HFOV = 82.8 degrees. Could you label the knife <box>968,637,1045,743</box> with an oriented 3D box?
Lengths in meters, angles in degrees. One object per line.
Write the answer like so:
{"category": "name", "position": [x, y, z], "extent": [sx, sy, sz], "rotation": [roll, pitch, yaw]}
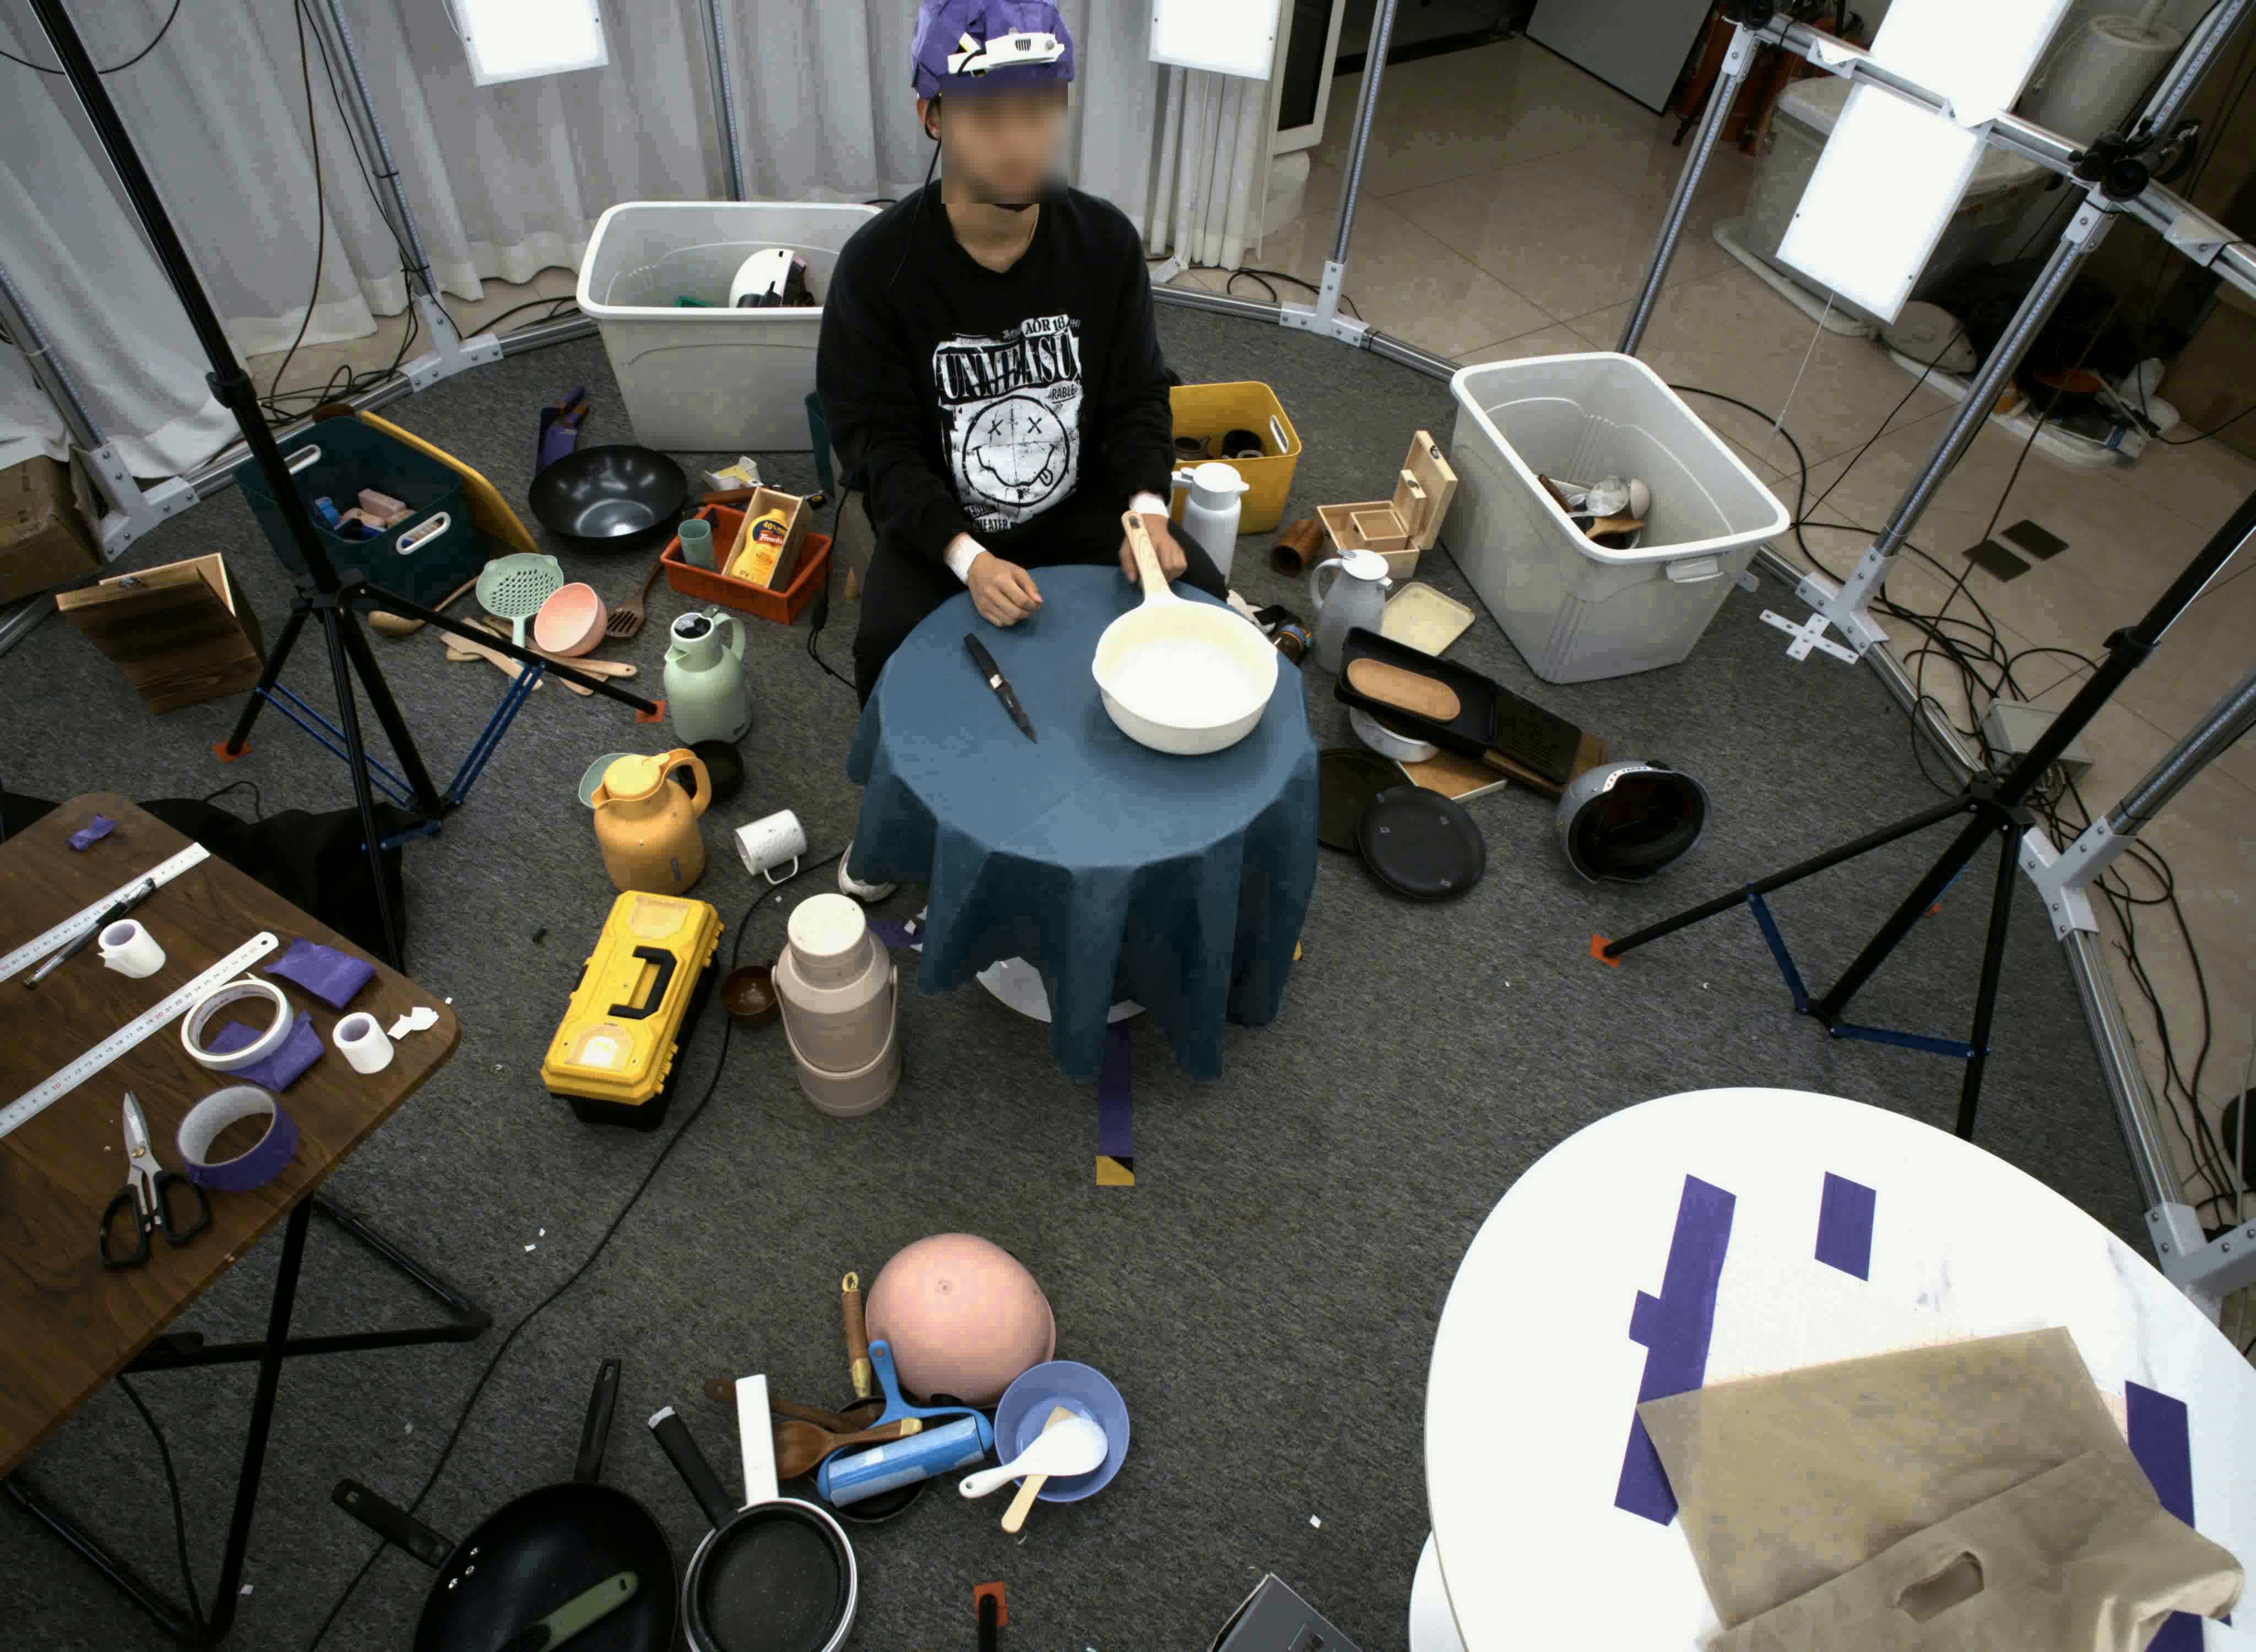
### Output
{"category": "knife", "position": [-0.174, -0.194, 1.821], "extent": [0.026, 0.017, 0.230], "rotation": [-10, 50, -32]}

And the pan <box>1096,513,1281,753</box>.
{"category": "pan", "position": [0.059, -0.278, 1.849], "extent": [0.263, 0.099, 0.445], "rotation": [-11, 51, -11]}
